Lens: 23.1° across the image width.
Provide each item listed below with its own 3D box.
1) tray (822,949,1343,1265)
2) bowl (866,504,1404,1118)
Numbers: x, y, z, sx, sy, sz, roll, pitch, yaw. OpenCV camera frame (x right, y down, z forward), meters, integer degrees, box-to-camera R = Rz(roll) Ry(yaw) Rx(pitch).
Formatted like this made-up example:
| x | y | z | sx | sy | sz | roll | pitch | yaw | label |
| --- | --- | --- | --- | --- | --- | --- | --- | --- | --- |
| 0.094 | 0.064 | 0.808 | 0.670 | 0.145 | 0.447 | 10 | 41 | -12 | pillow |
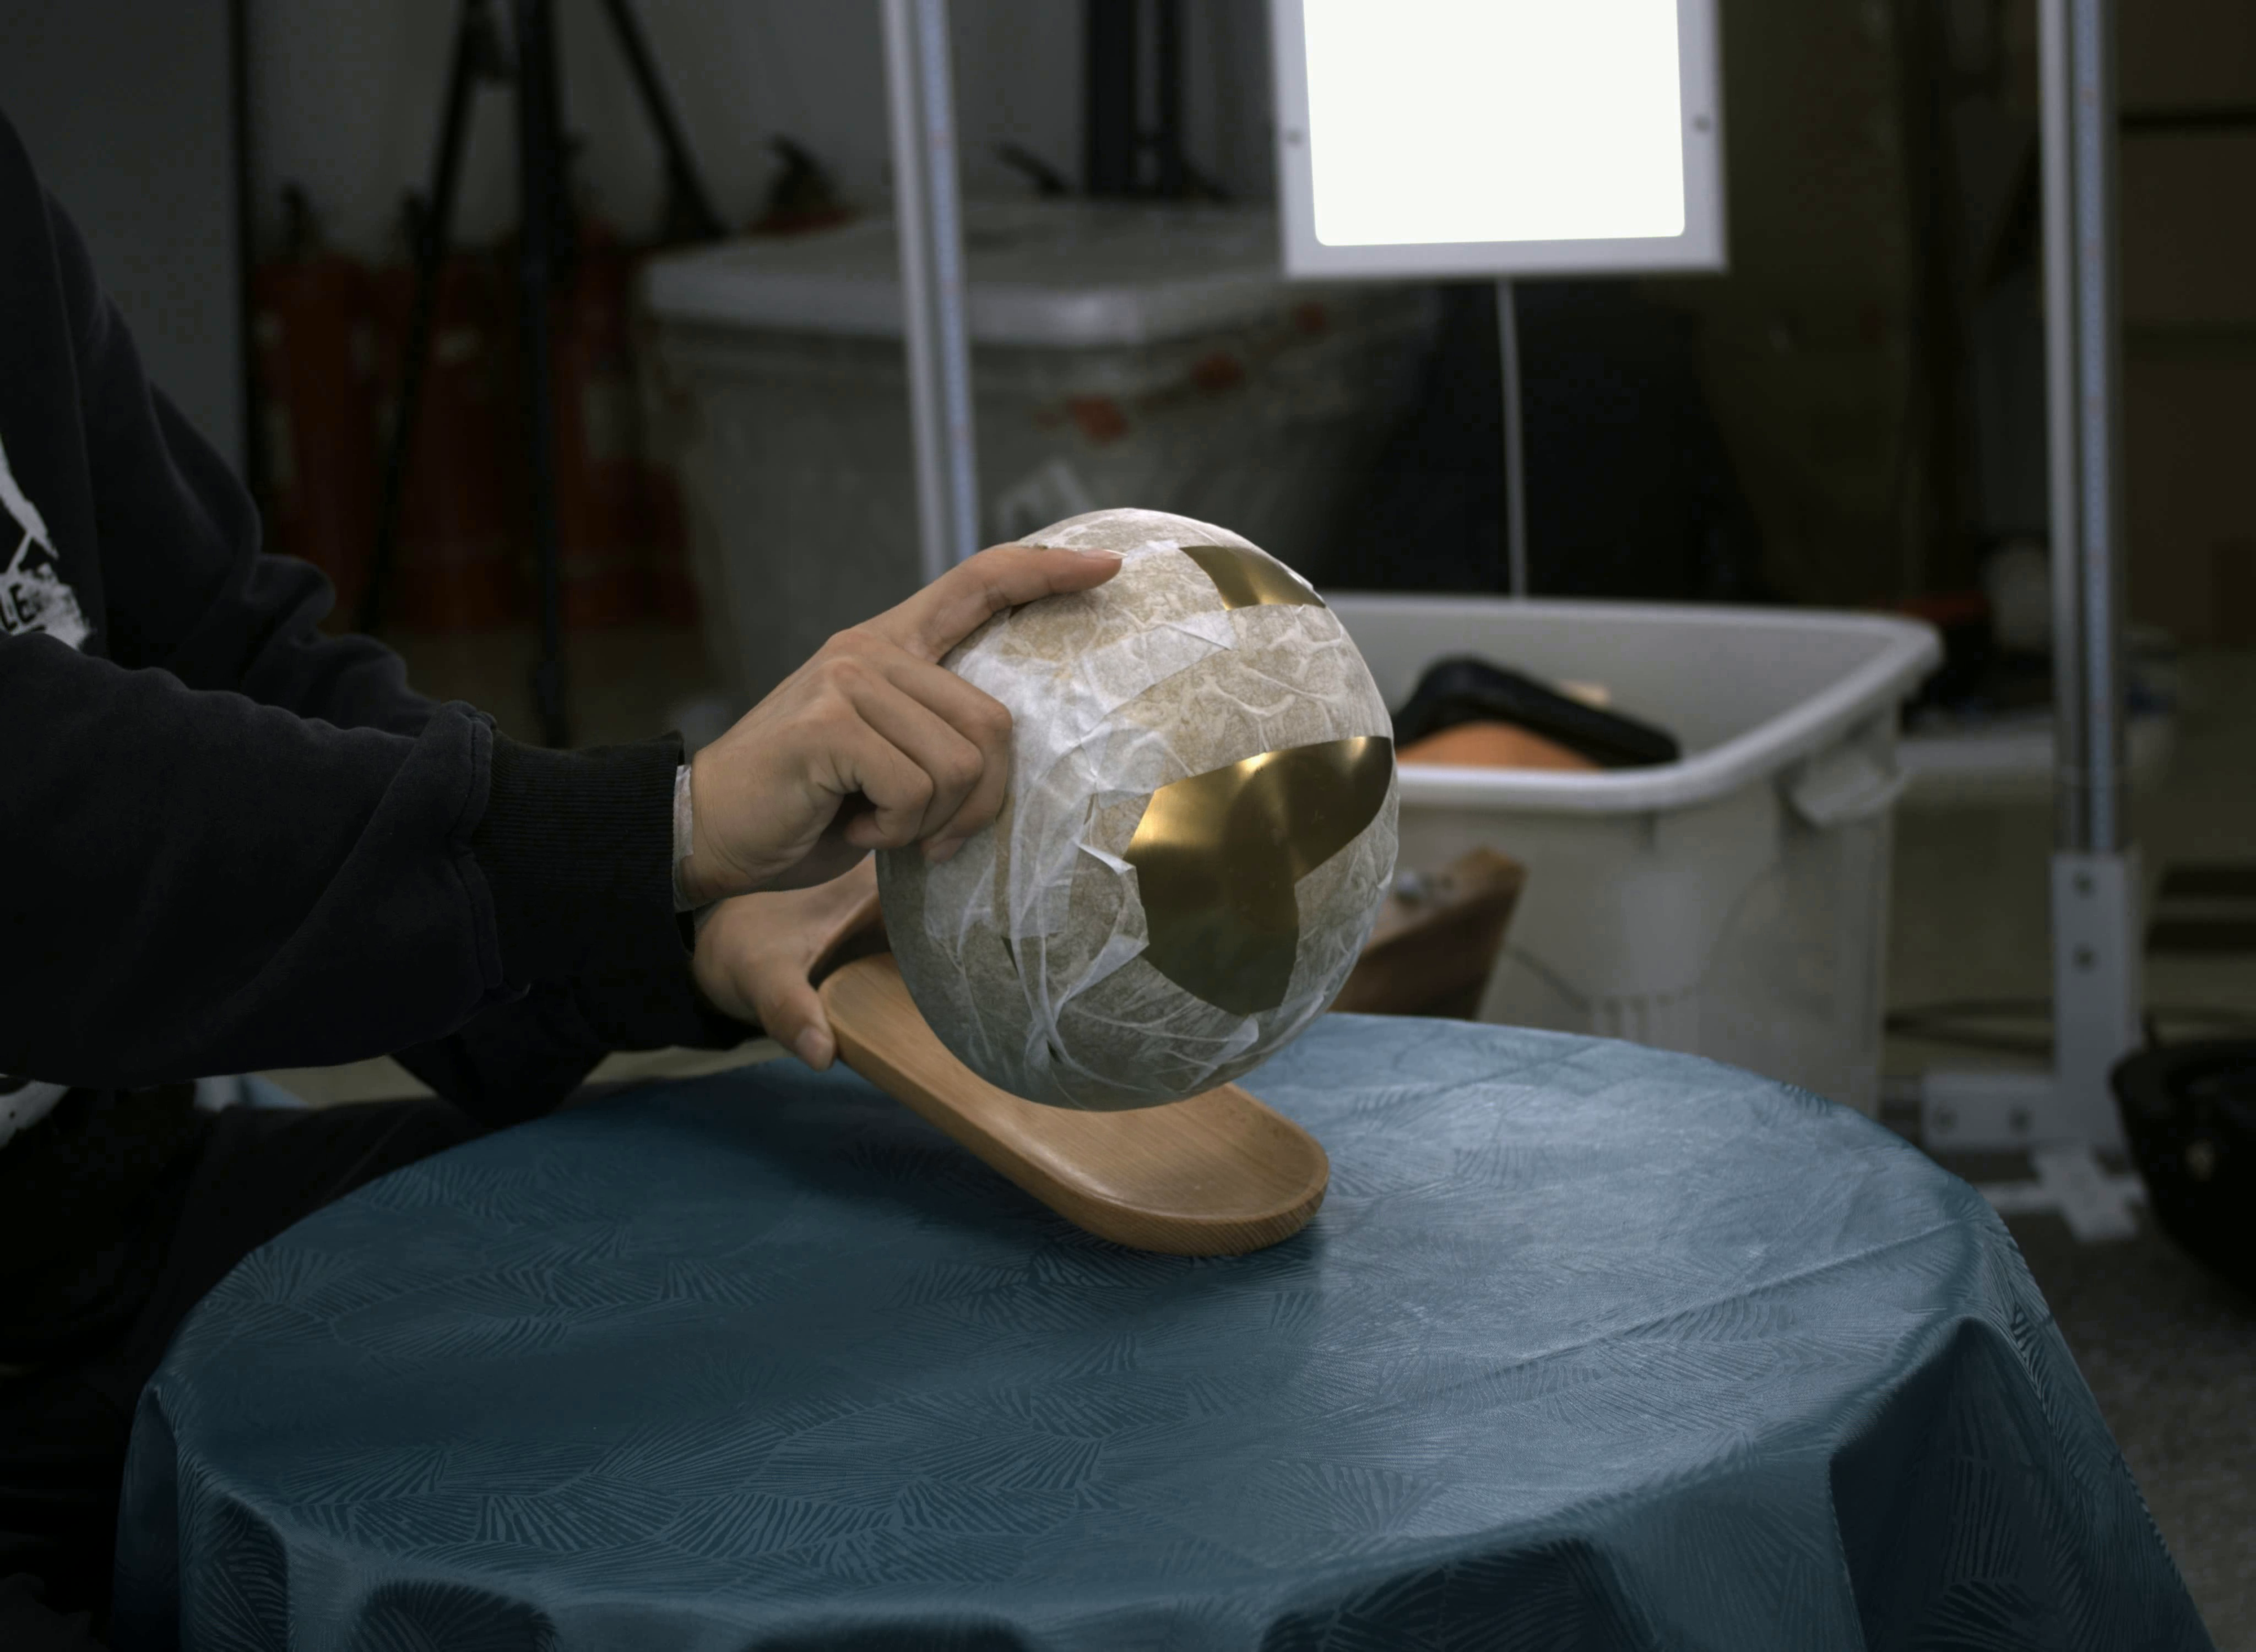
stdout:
| x | y | z | sx | sy | sz | roll | pitch | yaw | label |
| --- | --- | --- | --- | --- | --- | --- | --- | --- | --- |
| -0.018 | 0.095 | 1.904 | 0.099 | 0.020 | 0.235 | -16 | 32 | -34 | tray |
| 0.022 | 0.004 | 1.800 | 0.209 | 0.215 | 0.096 | -15 | 19 | -39 | bowl |
